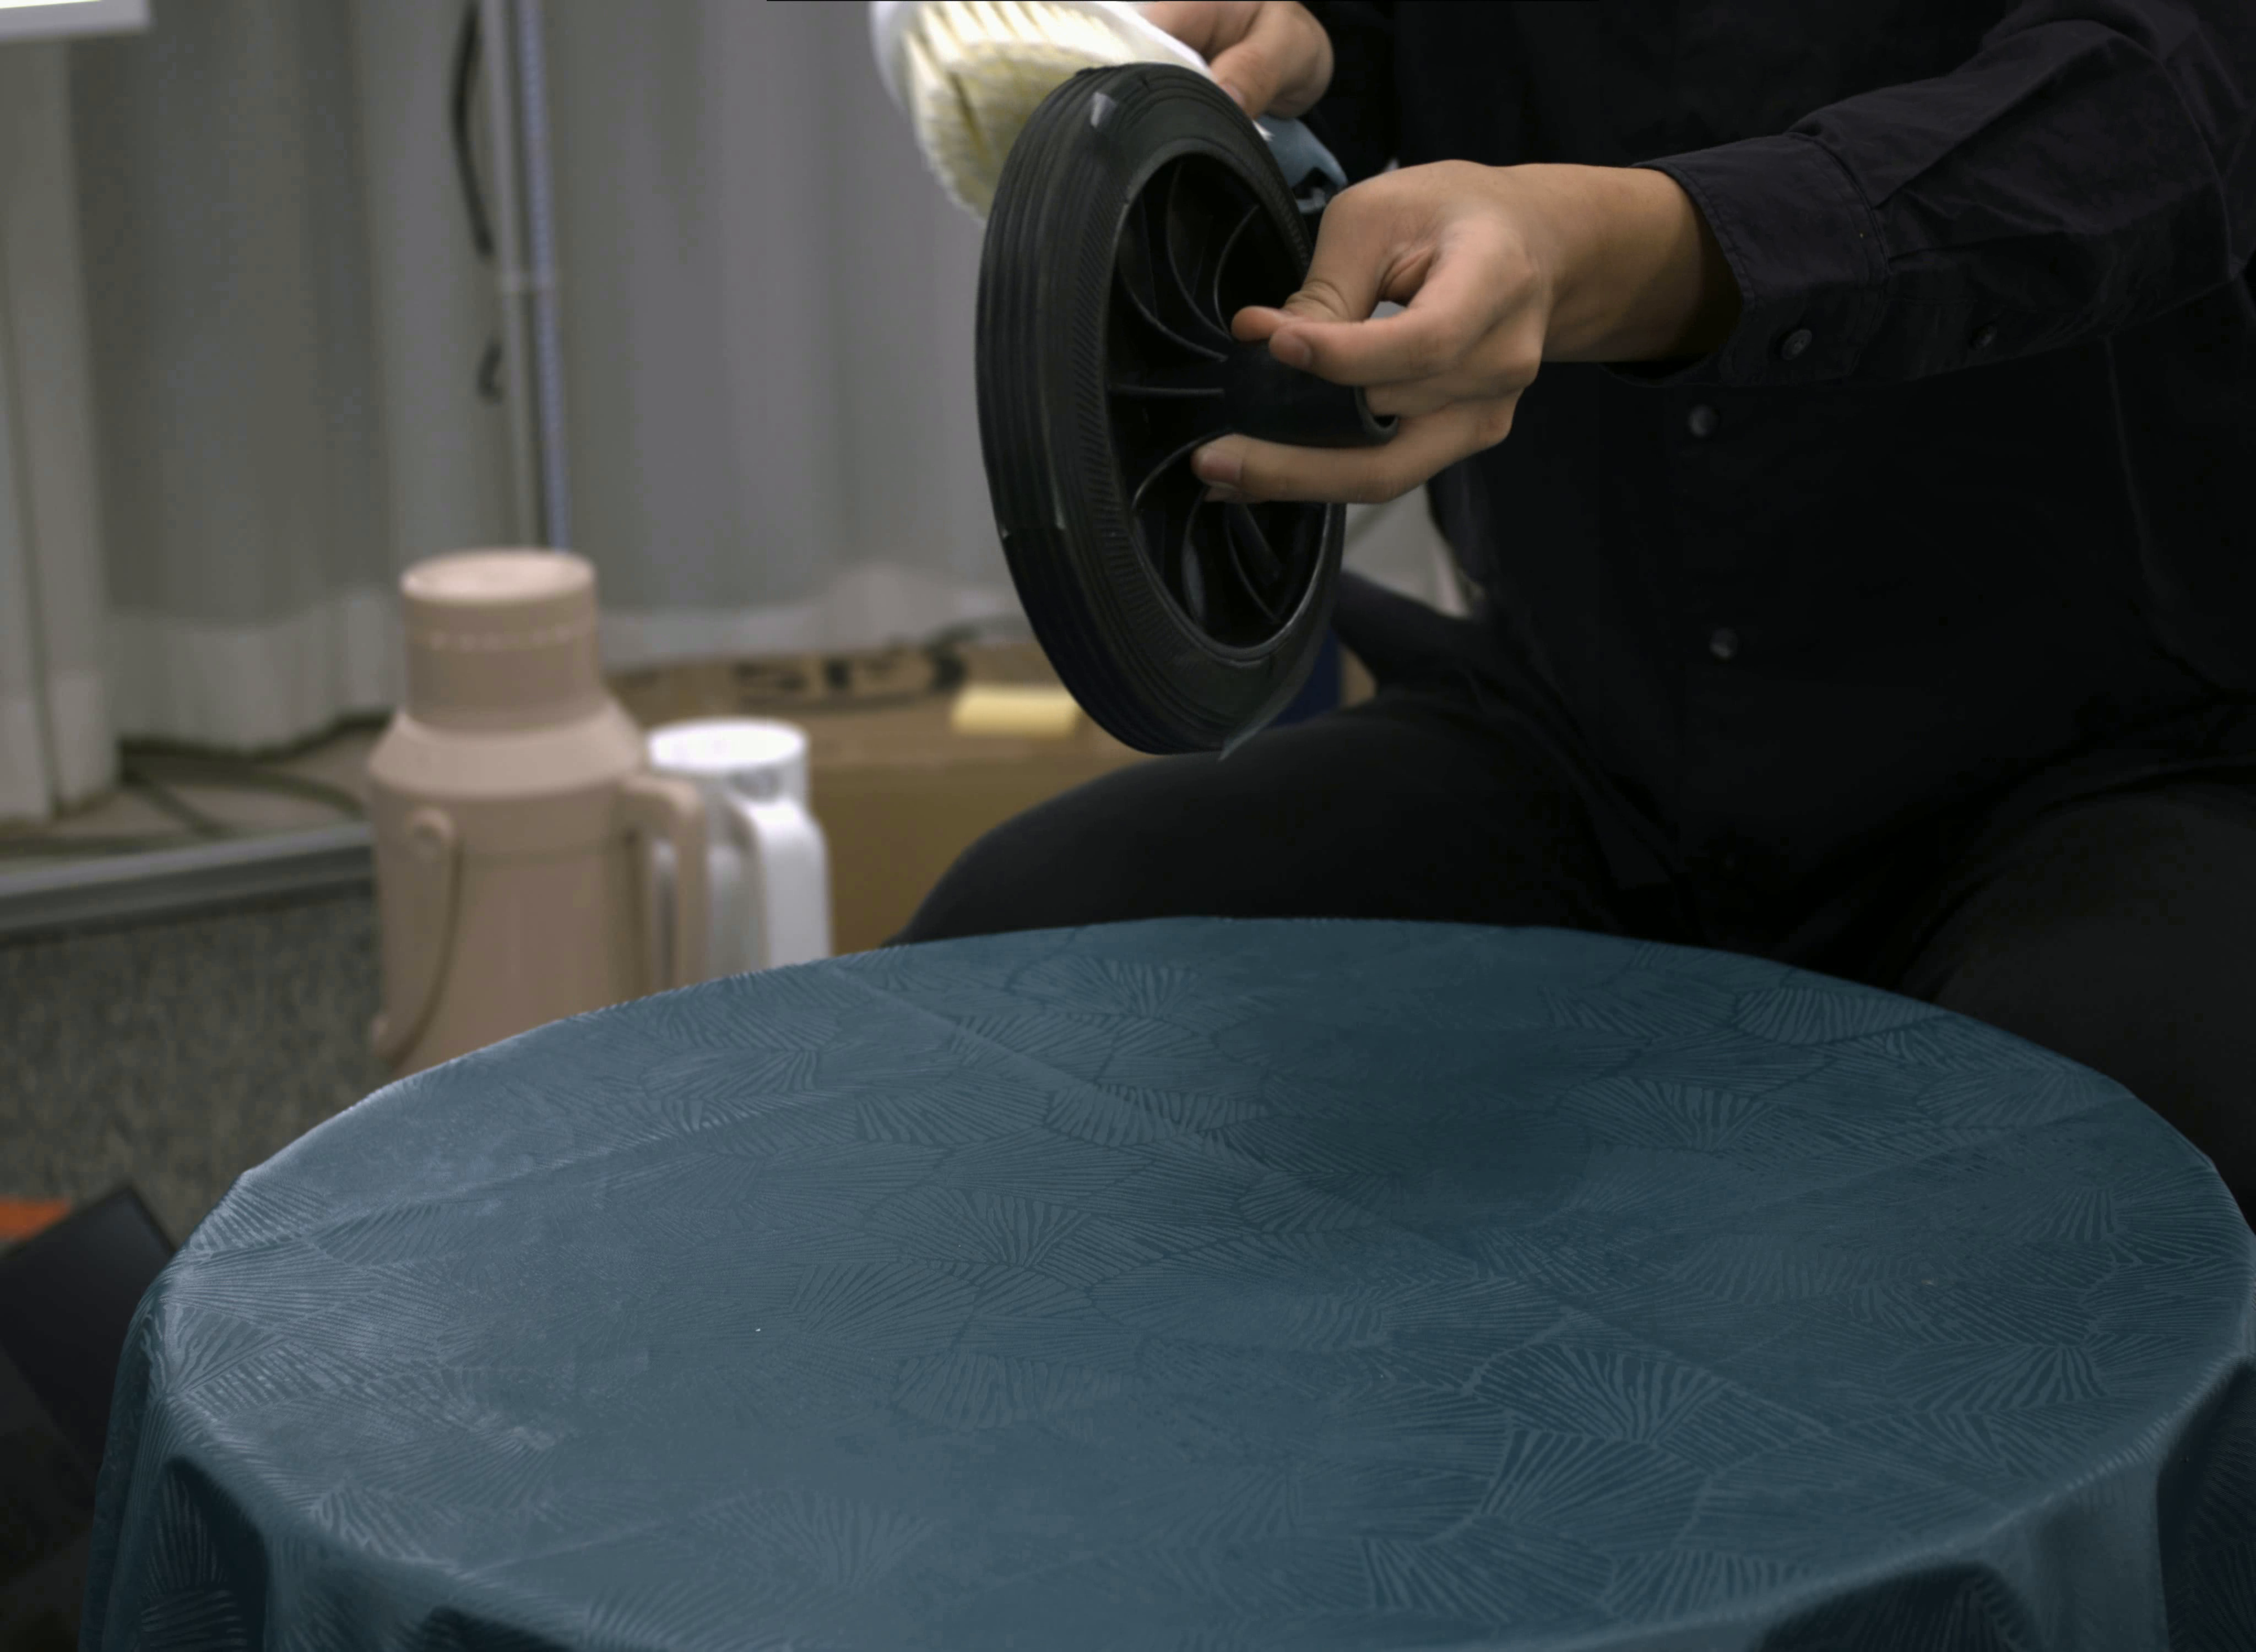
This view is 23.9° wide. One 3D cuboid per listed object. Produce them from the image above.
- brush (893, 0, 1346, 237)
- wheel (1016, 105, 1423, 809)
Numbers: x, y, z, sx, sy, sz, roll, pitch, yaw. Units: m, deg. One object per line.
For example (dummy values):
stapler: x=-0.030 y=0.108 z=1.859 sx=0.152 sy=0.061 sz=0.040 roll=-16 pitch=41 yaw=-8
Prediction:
brush: x=0.025 y=-0.198 z=1.579 sx=0.084 sy=0.085 sz=0.319 roll=-5 pitch=-5 yaw=22
wheel: x=0.038 y=-0.101 z=1.439 sx=0.080 sy=0.184 sz=0.190 roll=-6 pitch=46 yaw=27
